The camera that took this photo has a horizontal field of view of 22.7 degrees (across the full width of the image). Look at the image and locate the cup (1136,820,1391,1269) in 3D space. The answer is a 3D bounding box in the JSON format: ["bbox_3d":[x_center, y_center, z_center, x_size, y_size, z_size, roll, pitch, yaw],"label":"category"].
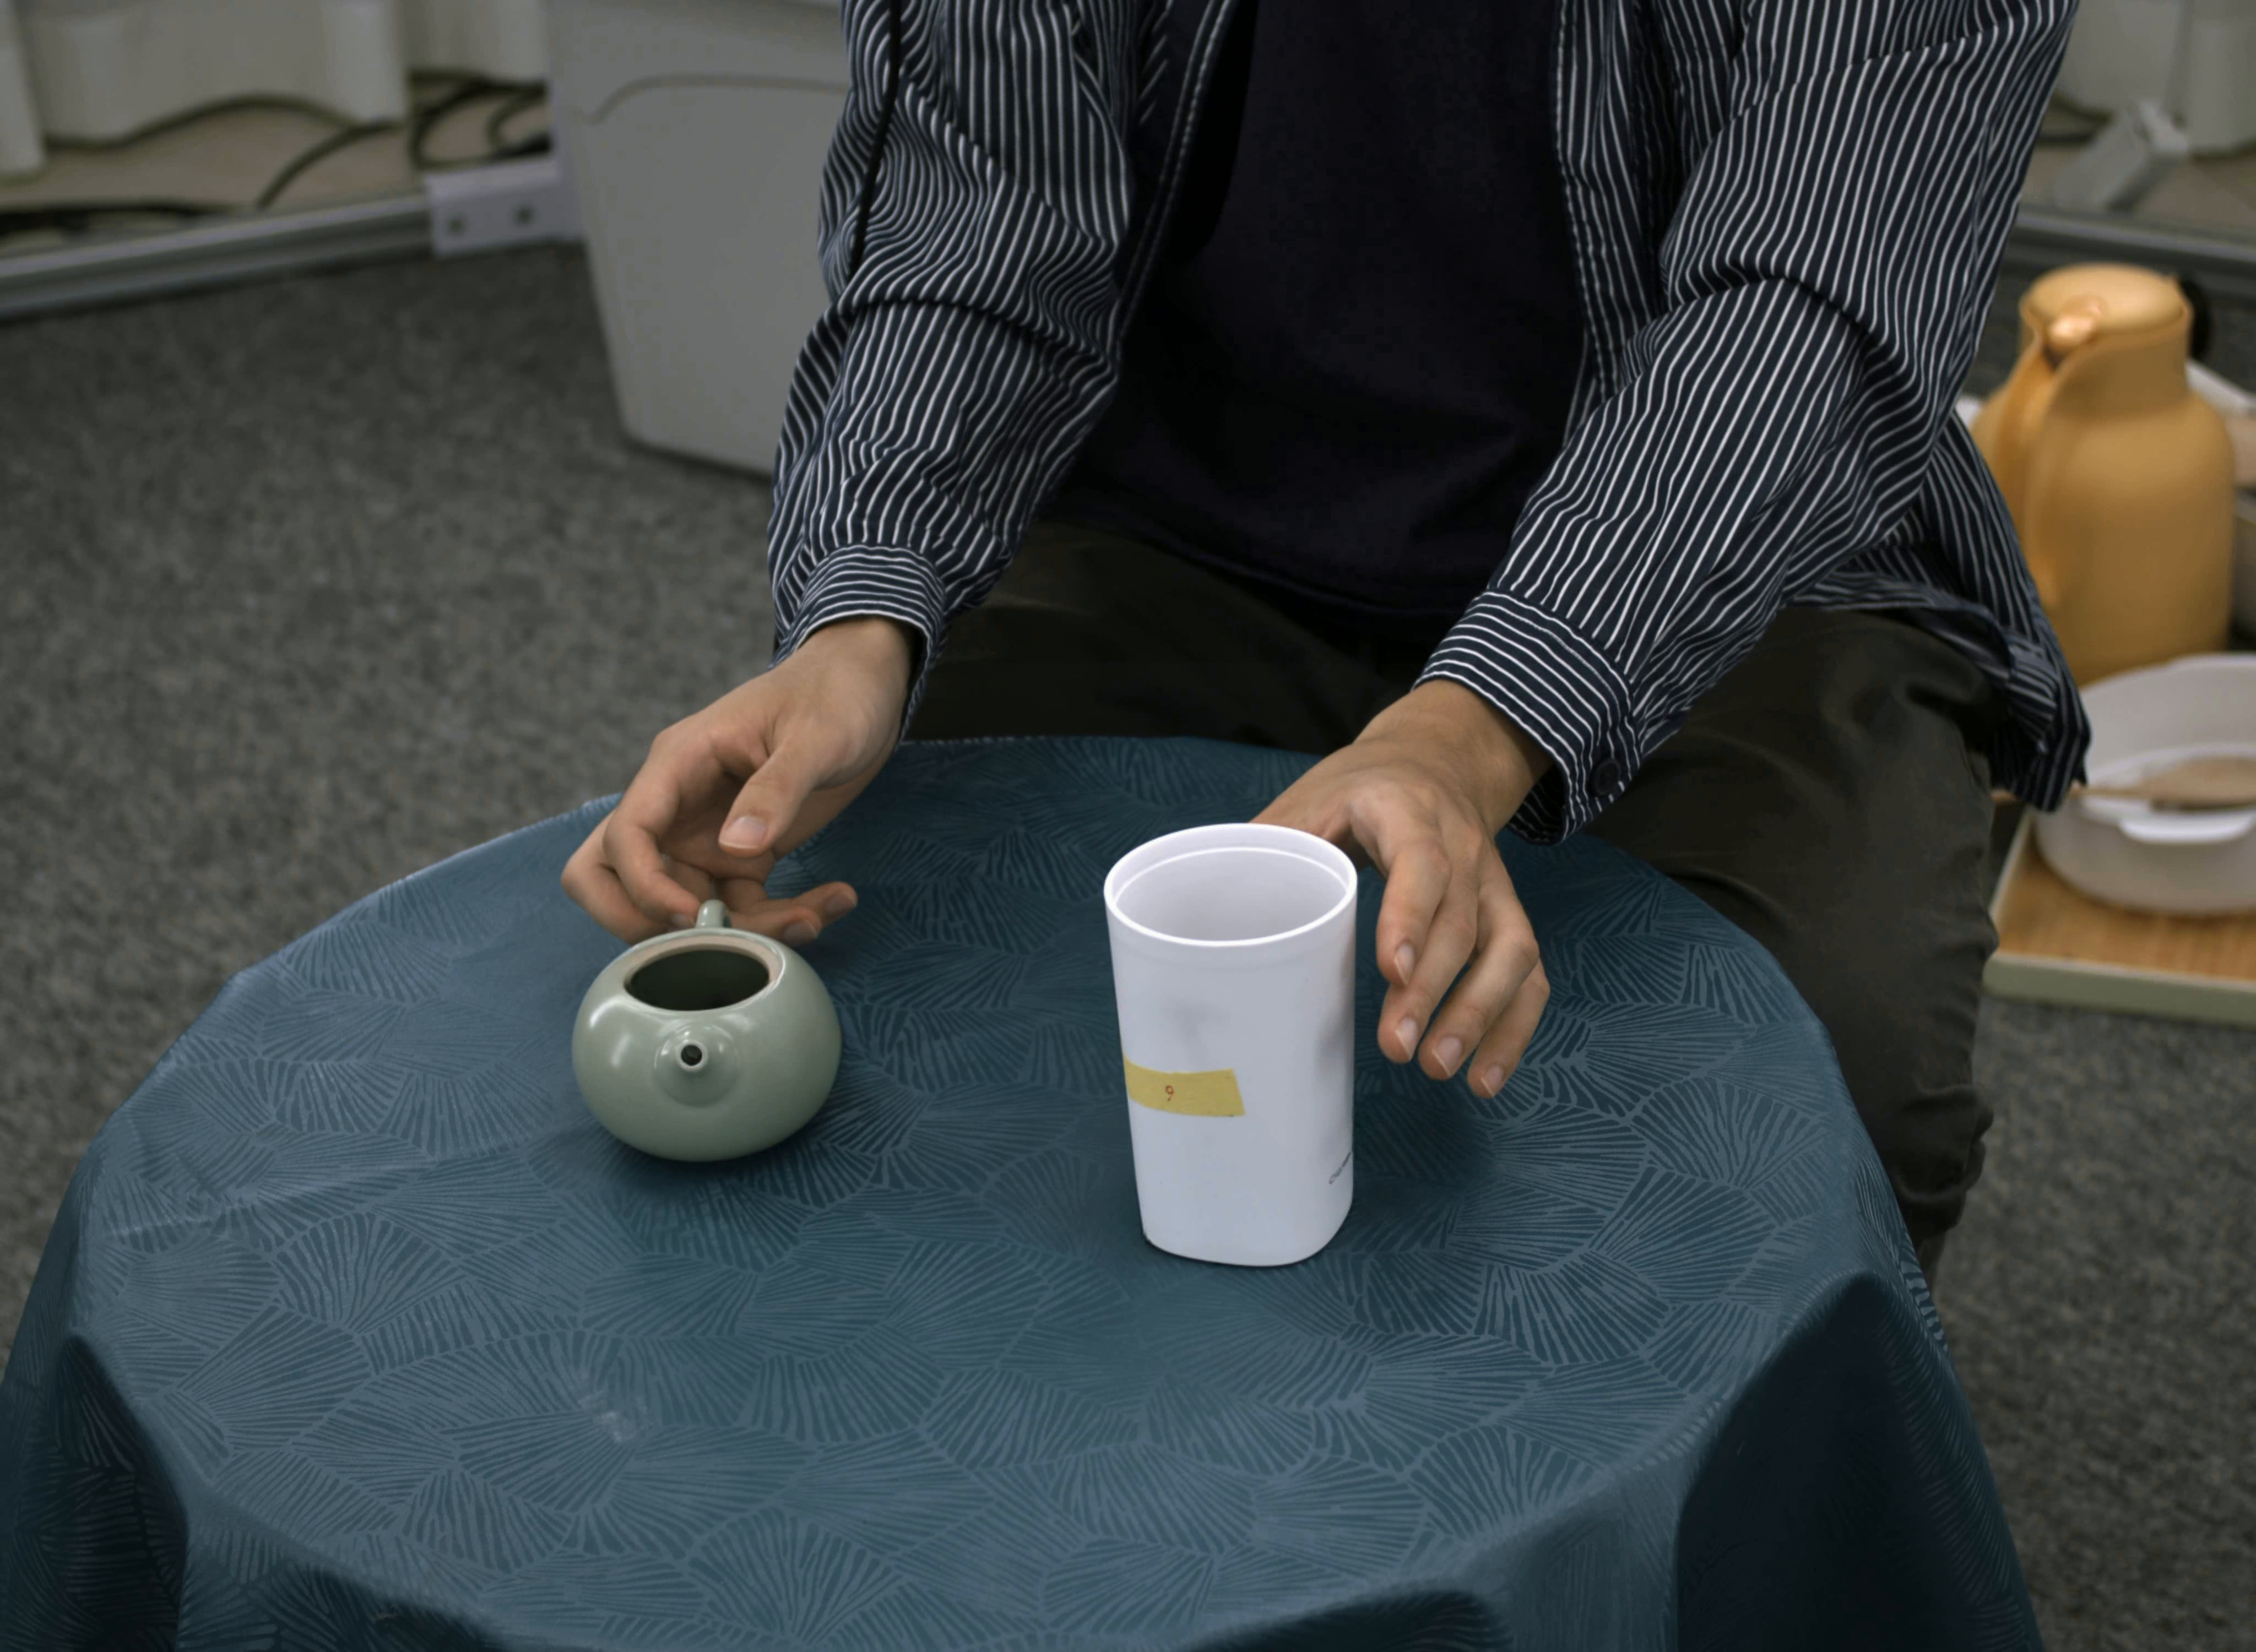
[{"bbox_3d":[0.047,0.072,1.806,0.081,0.124,0.083,-3,26,2],"label":"cup"}]

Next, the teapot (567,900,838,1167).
[{"bbox_3d":[-0.143,0.071,1.905,0.091,0.060,0.130,-2,27,6],"label":"teapot"}]
